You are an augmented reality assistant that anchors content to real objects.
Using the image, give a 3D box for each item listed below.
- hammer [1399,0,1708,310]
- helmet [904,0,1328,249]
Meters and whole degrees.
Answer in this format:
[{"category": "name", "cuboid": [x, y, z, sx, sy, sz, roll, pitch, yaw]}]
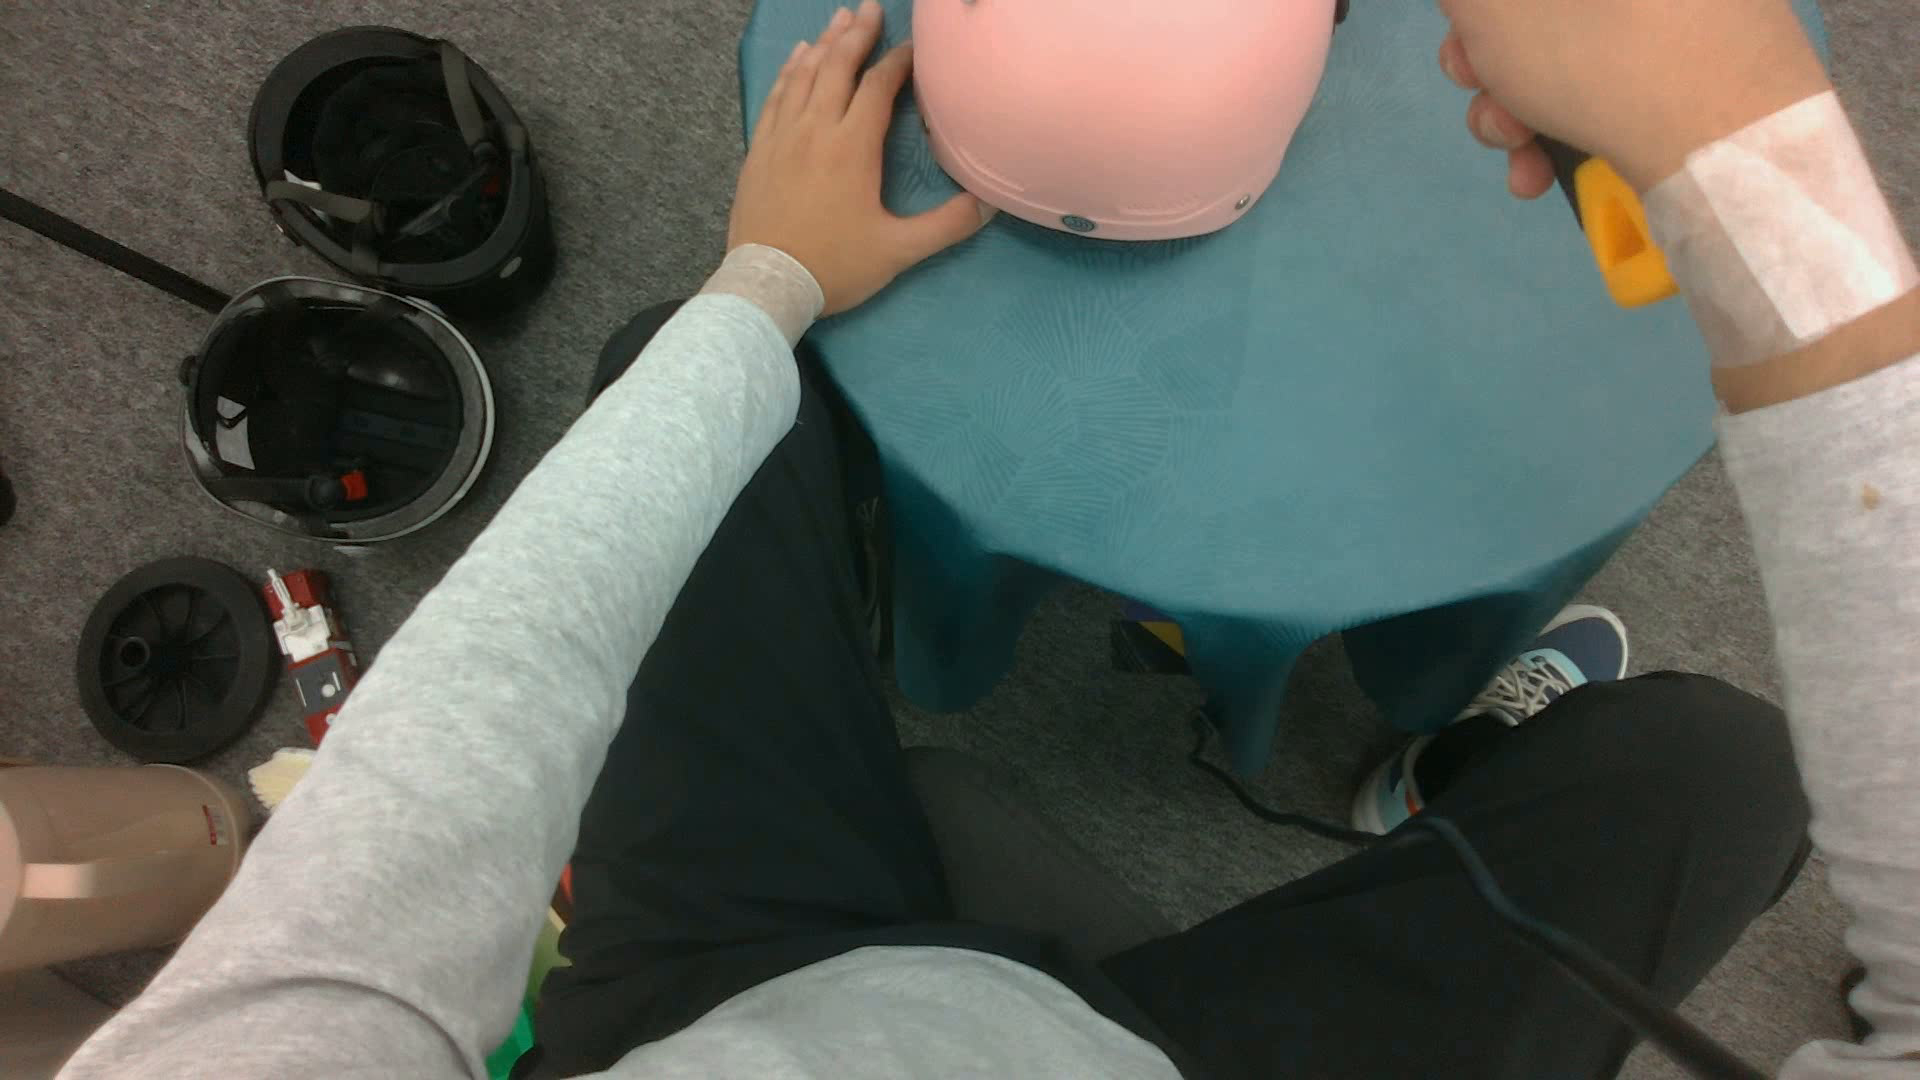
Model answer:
[{"category": "hammer", "cuboid": [0.121, -0.218, 0.429, 0.032, 0.131, 0.338, -30, 82, -7]}, {"category": "helmet", "cuboid": [0.081, -0.293, 0.713, 0.234, 0.158, 0.266, 11, 77, 4]}]
